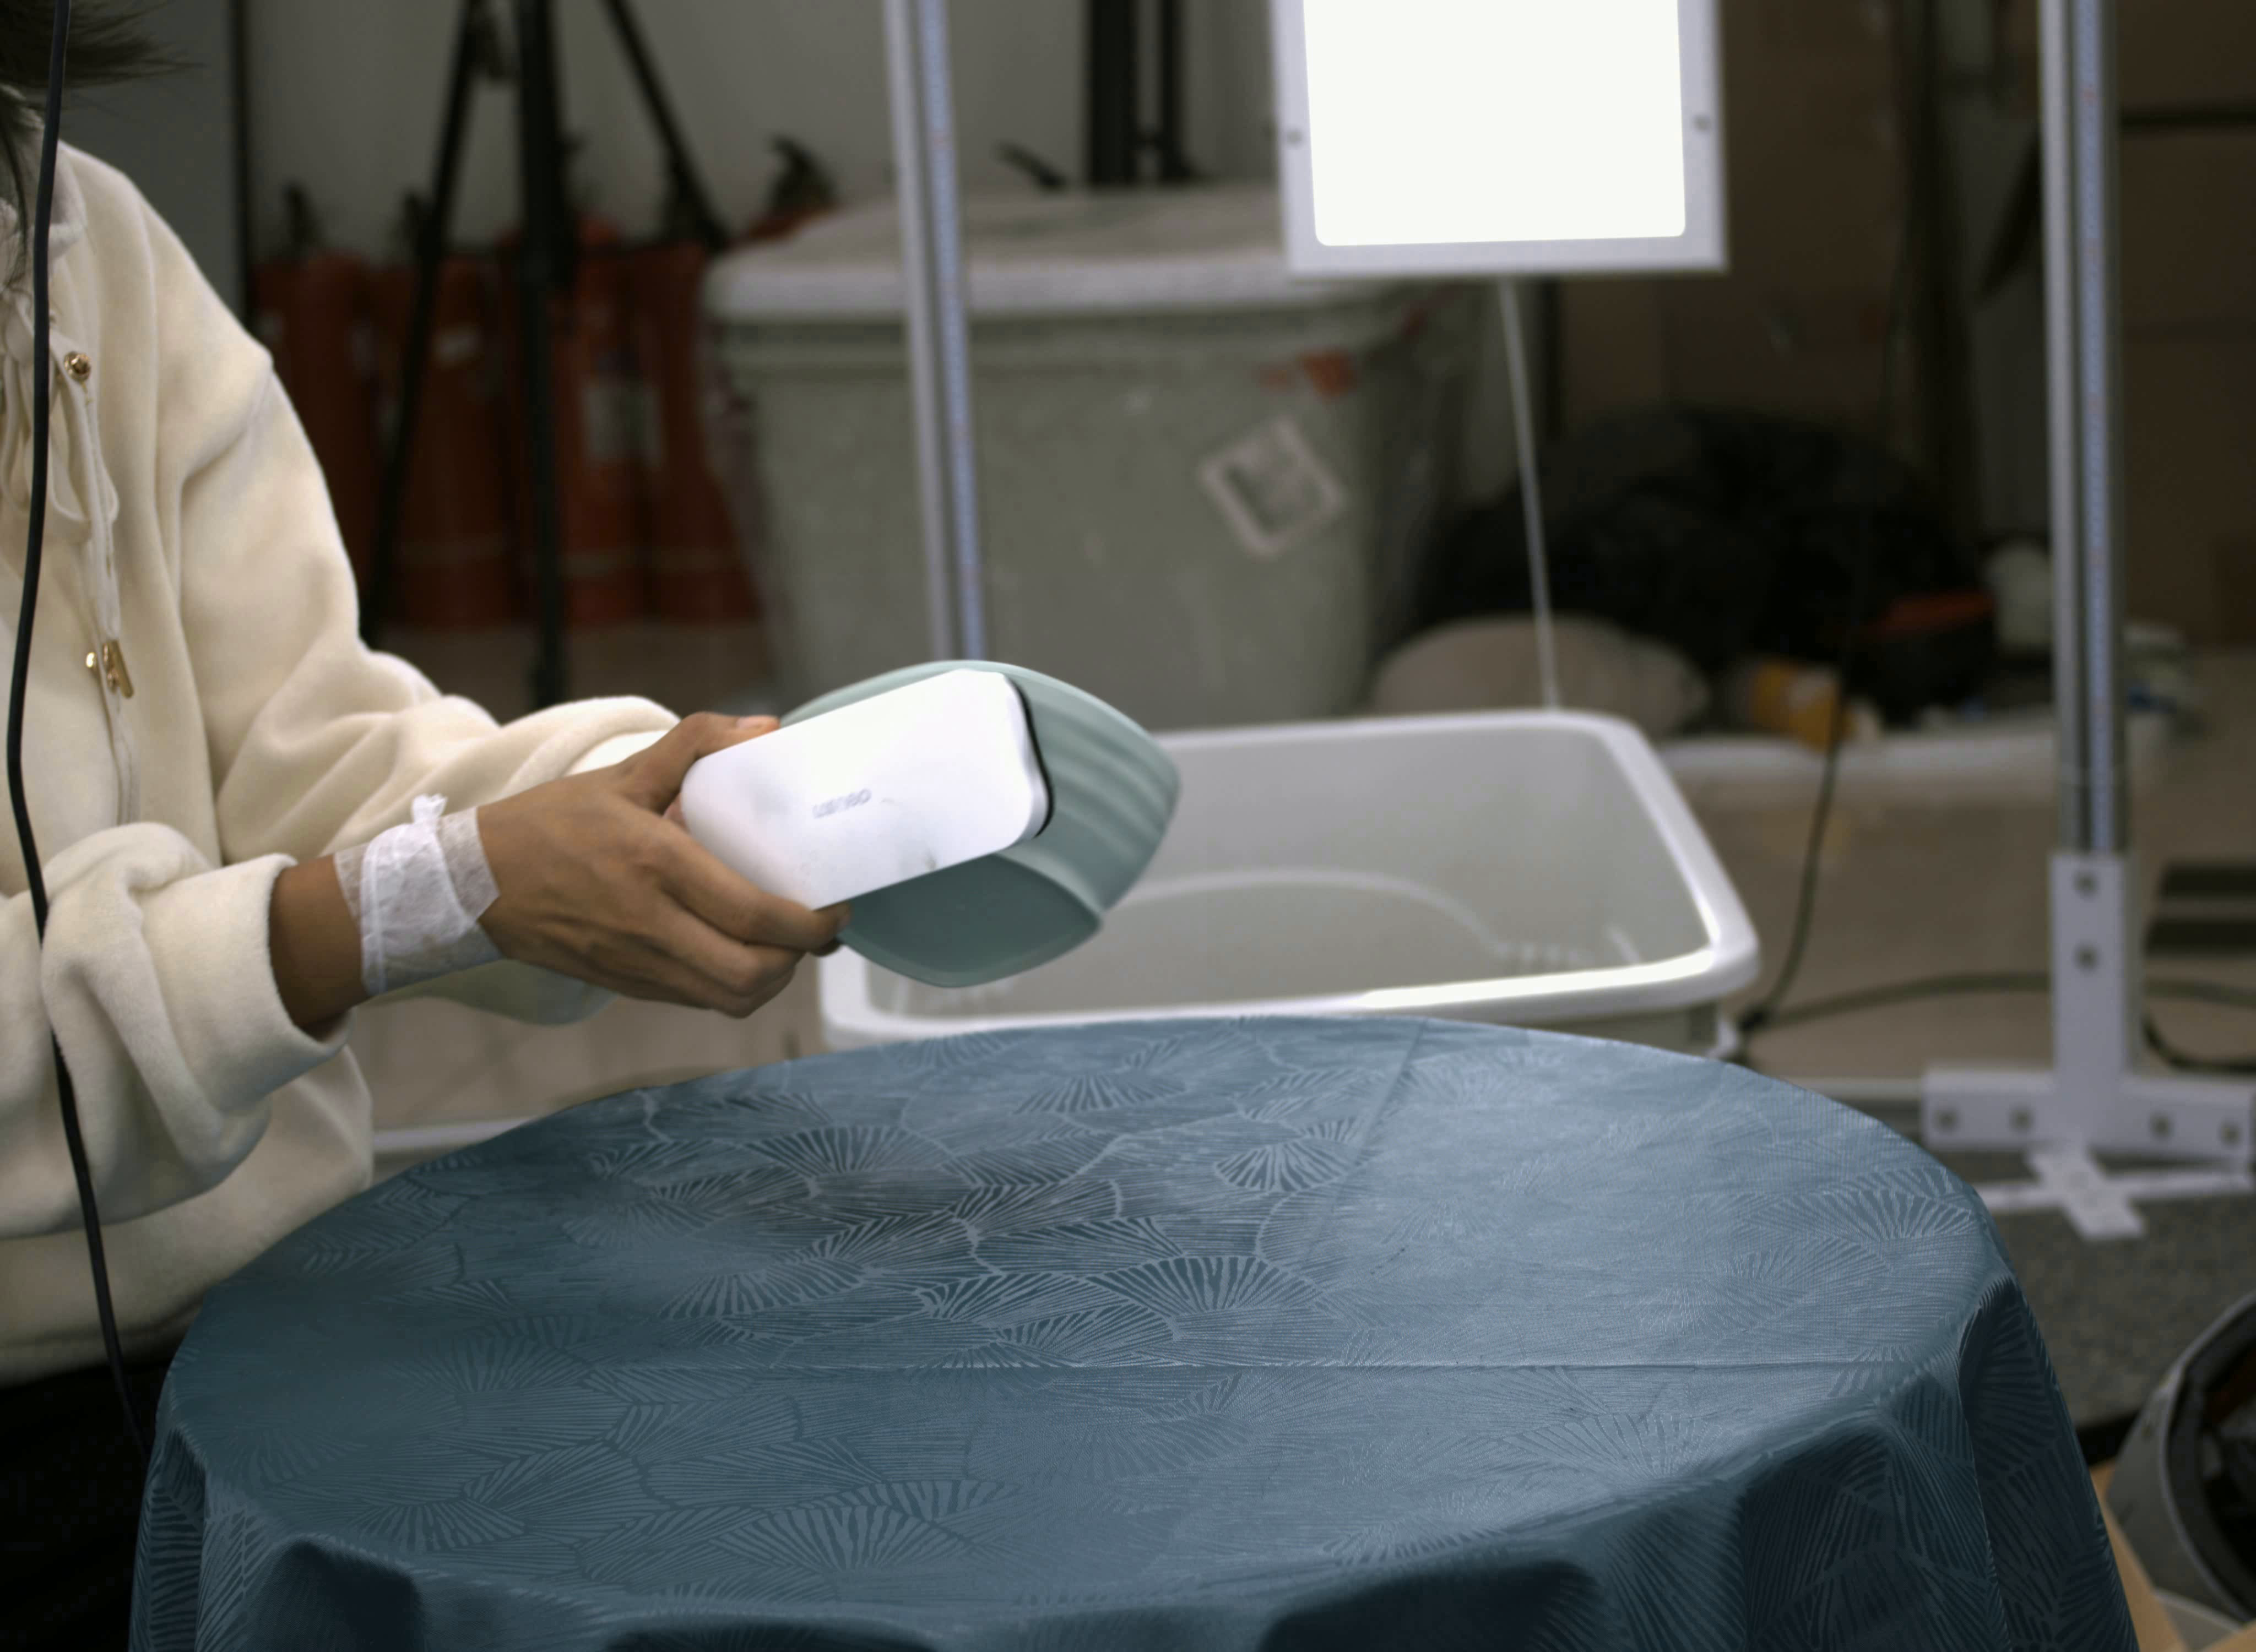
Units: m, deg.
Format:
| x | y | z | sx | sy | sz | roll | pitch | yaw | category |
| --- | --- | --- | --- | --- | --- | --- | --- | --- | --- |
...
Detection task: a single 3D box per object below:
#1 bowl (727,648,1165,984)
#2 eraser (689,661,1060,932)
| x | y | z | sx | sy | sz | roll | pitch | yaw | category |
| --- | --- | --- | --- | --- | --- | --- | --- | --- | --- |
| -0.064 | 0.005 | 1.871 | 0.152 | 0.151 | 0.058 | -1 | 57 | 12 | bowl |
| -0.085 | -0.011 | 1.808 | 0.134 | 0.063 | 0.034 | -19 | -6 | 31 | eraser |
